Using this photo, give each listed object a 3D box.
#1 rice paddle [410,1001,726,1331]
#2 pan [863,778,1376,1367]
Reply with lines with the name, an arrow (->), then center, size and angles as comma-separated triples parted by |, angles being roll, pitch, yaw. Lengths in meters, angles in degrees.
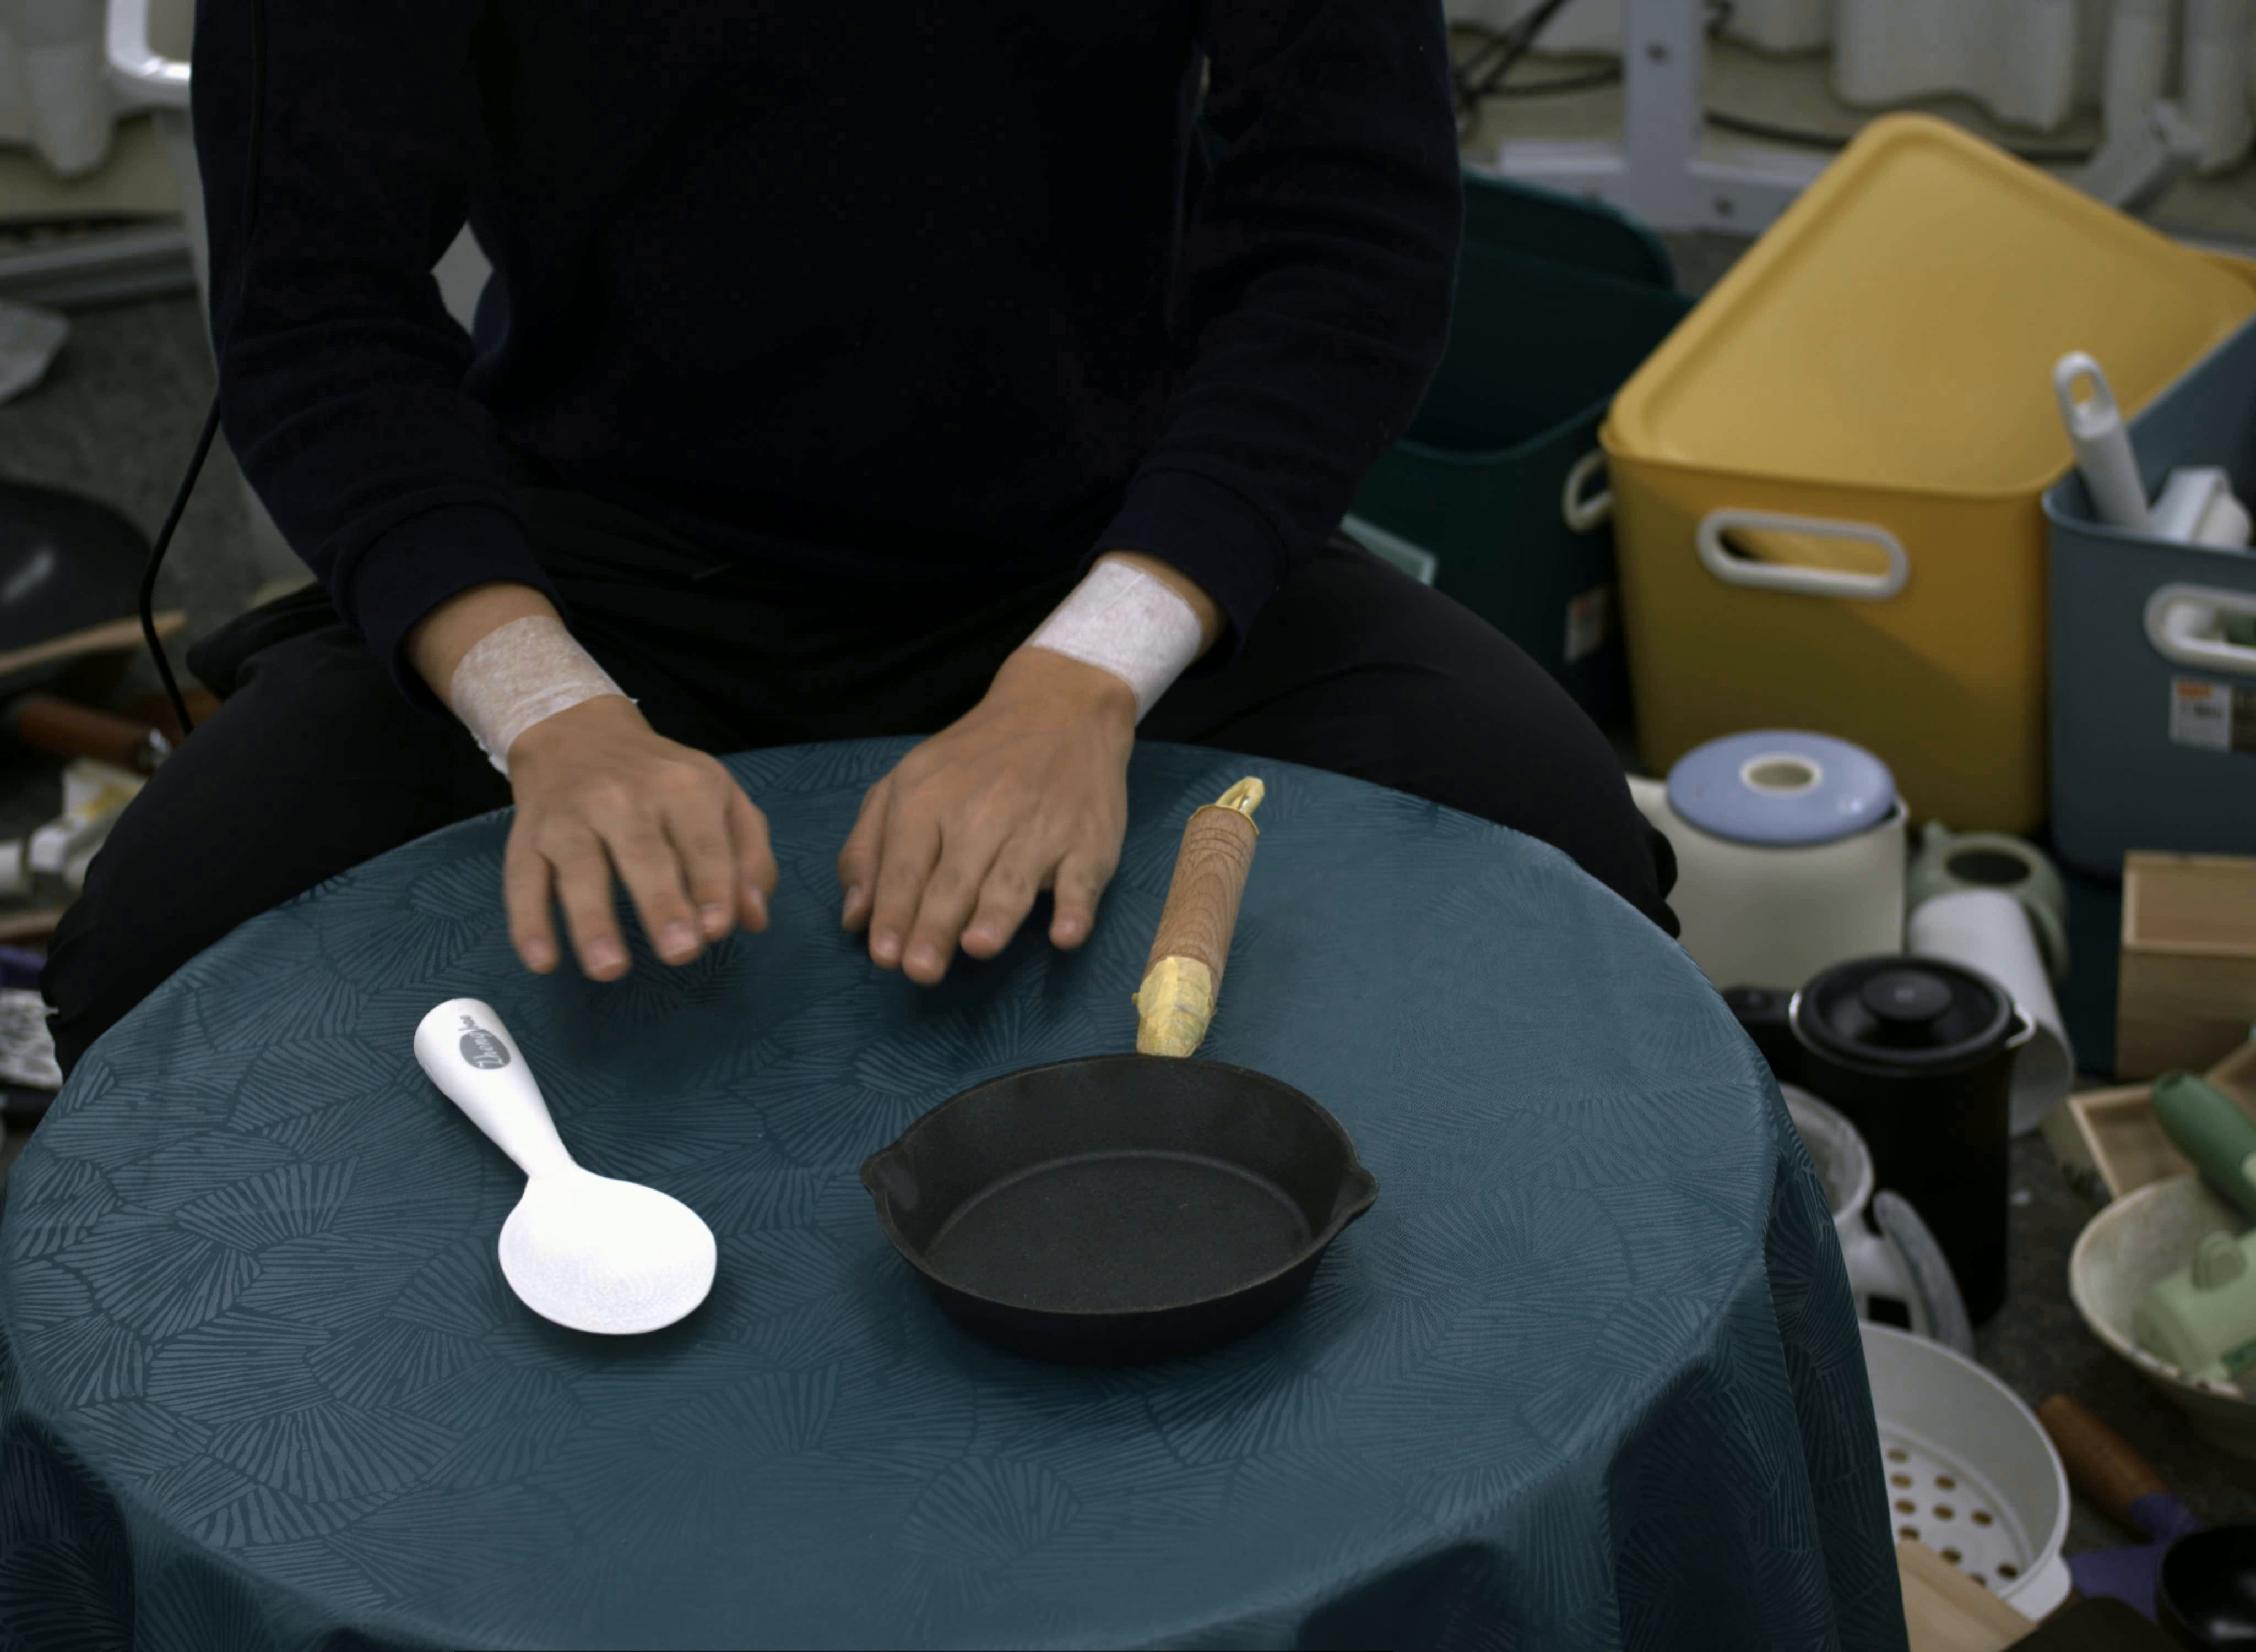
rice paddle -> -0.191, 0.115, 1.863 | 0.069, 0.029, 0.206 | -16, 30, -20
pan -> 0.013, 0.080, 1.887 | 0.168, 0.049, 0.330 | 3, 30, 11
